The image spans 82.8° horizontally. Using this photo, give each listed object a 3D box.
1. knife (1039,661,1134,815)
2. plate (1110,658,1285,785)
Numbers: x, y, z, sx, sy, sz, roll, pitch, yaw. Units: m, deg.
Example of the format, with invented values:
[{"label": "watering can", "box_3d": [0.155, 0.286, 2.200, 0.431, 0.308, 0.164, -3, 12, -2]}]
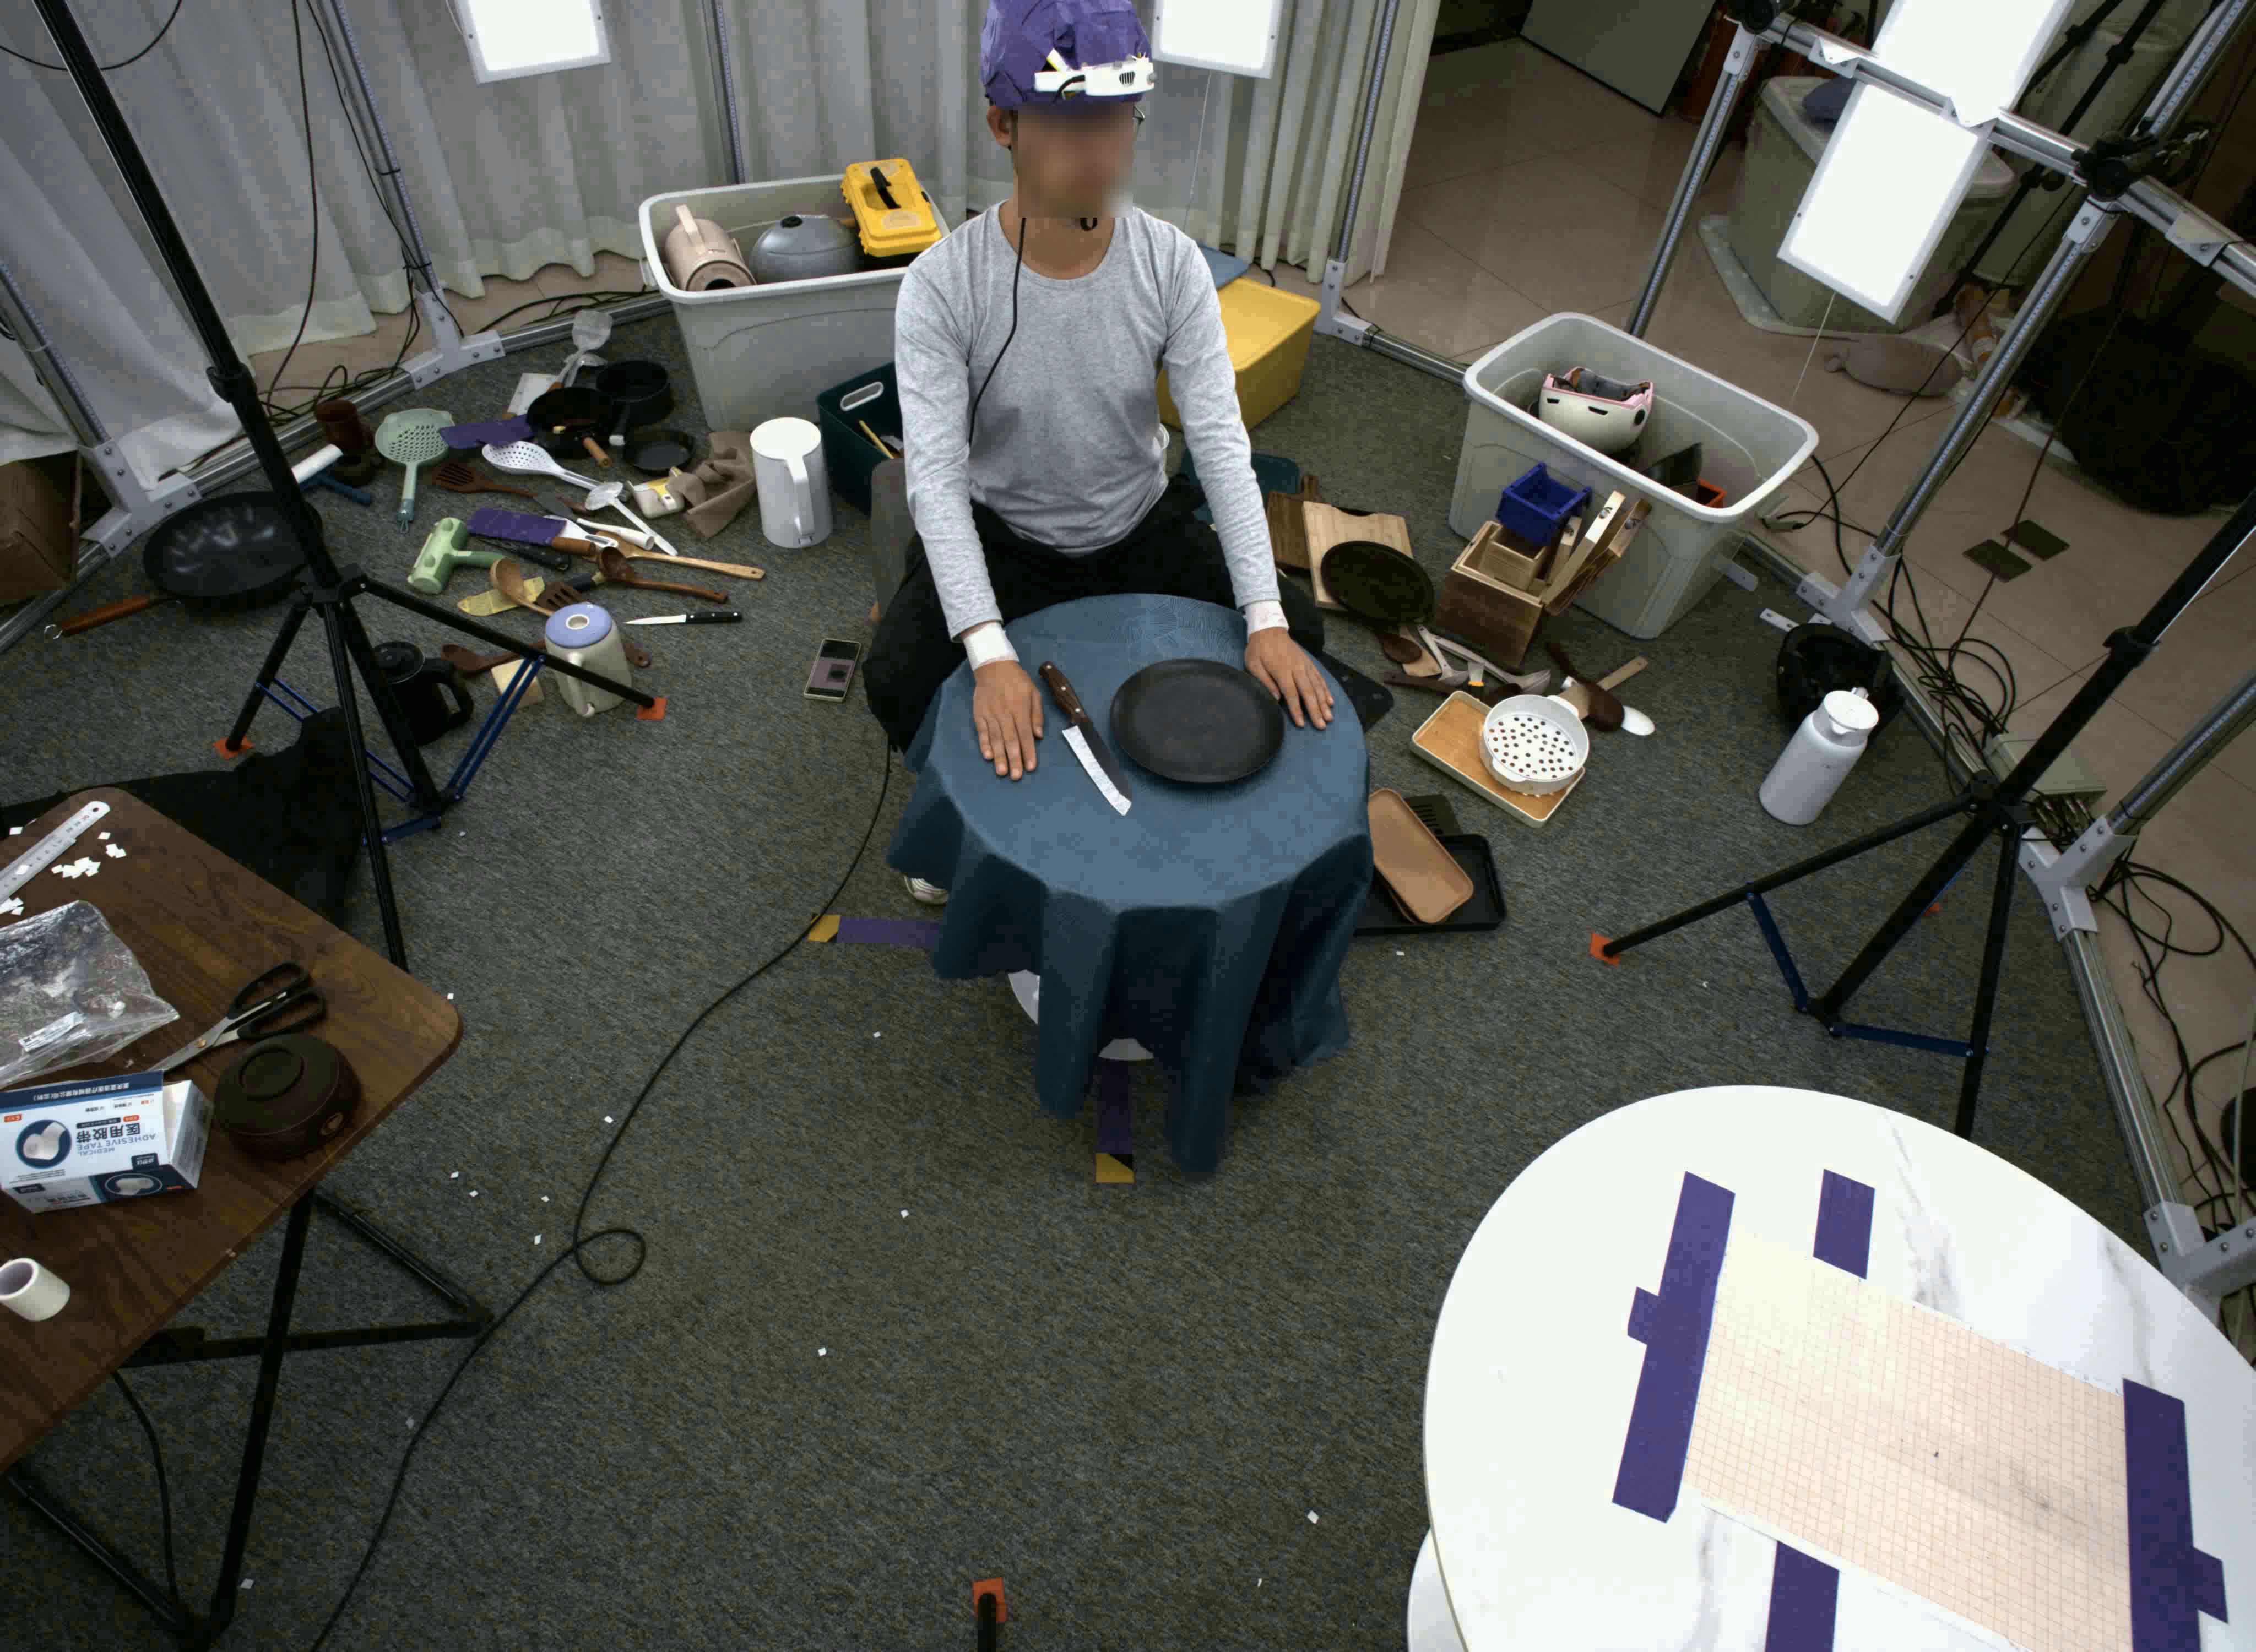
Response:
[{"label": "knife", "box_3d": [-0.059, -0.123, 1.760, 0.050, 0.019, 0.295, -19, 55, -13]}, {"label": "plate", "box_3d": [0.096, -0.144, 1.784, 0.244, 0.023, 0.250, 2, 49, -2]}]
